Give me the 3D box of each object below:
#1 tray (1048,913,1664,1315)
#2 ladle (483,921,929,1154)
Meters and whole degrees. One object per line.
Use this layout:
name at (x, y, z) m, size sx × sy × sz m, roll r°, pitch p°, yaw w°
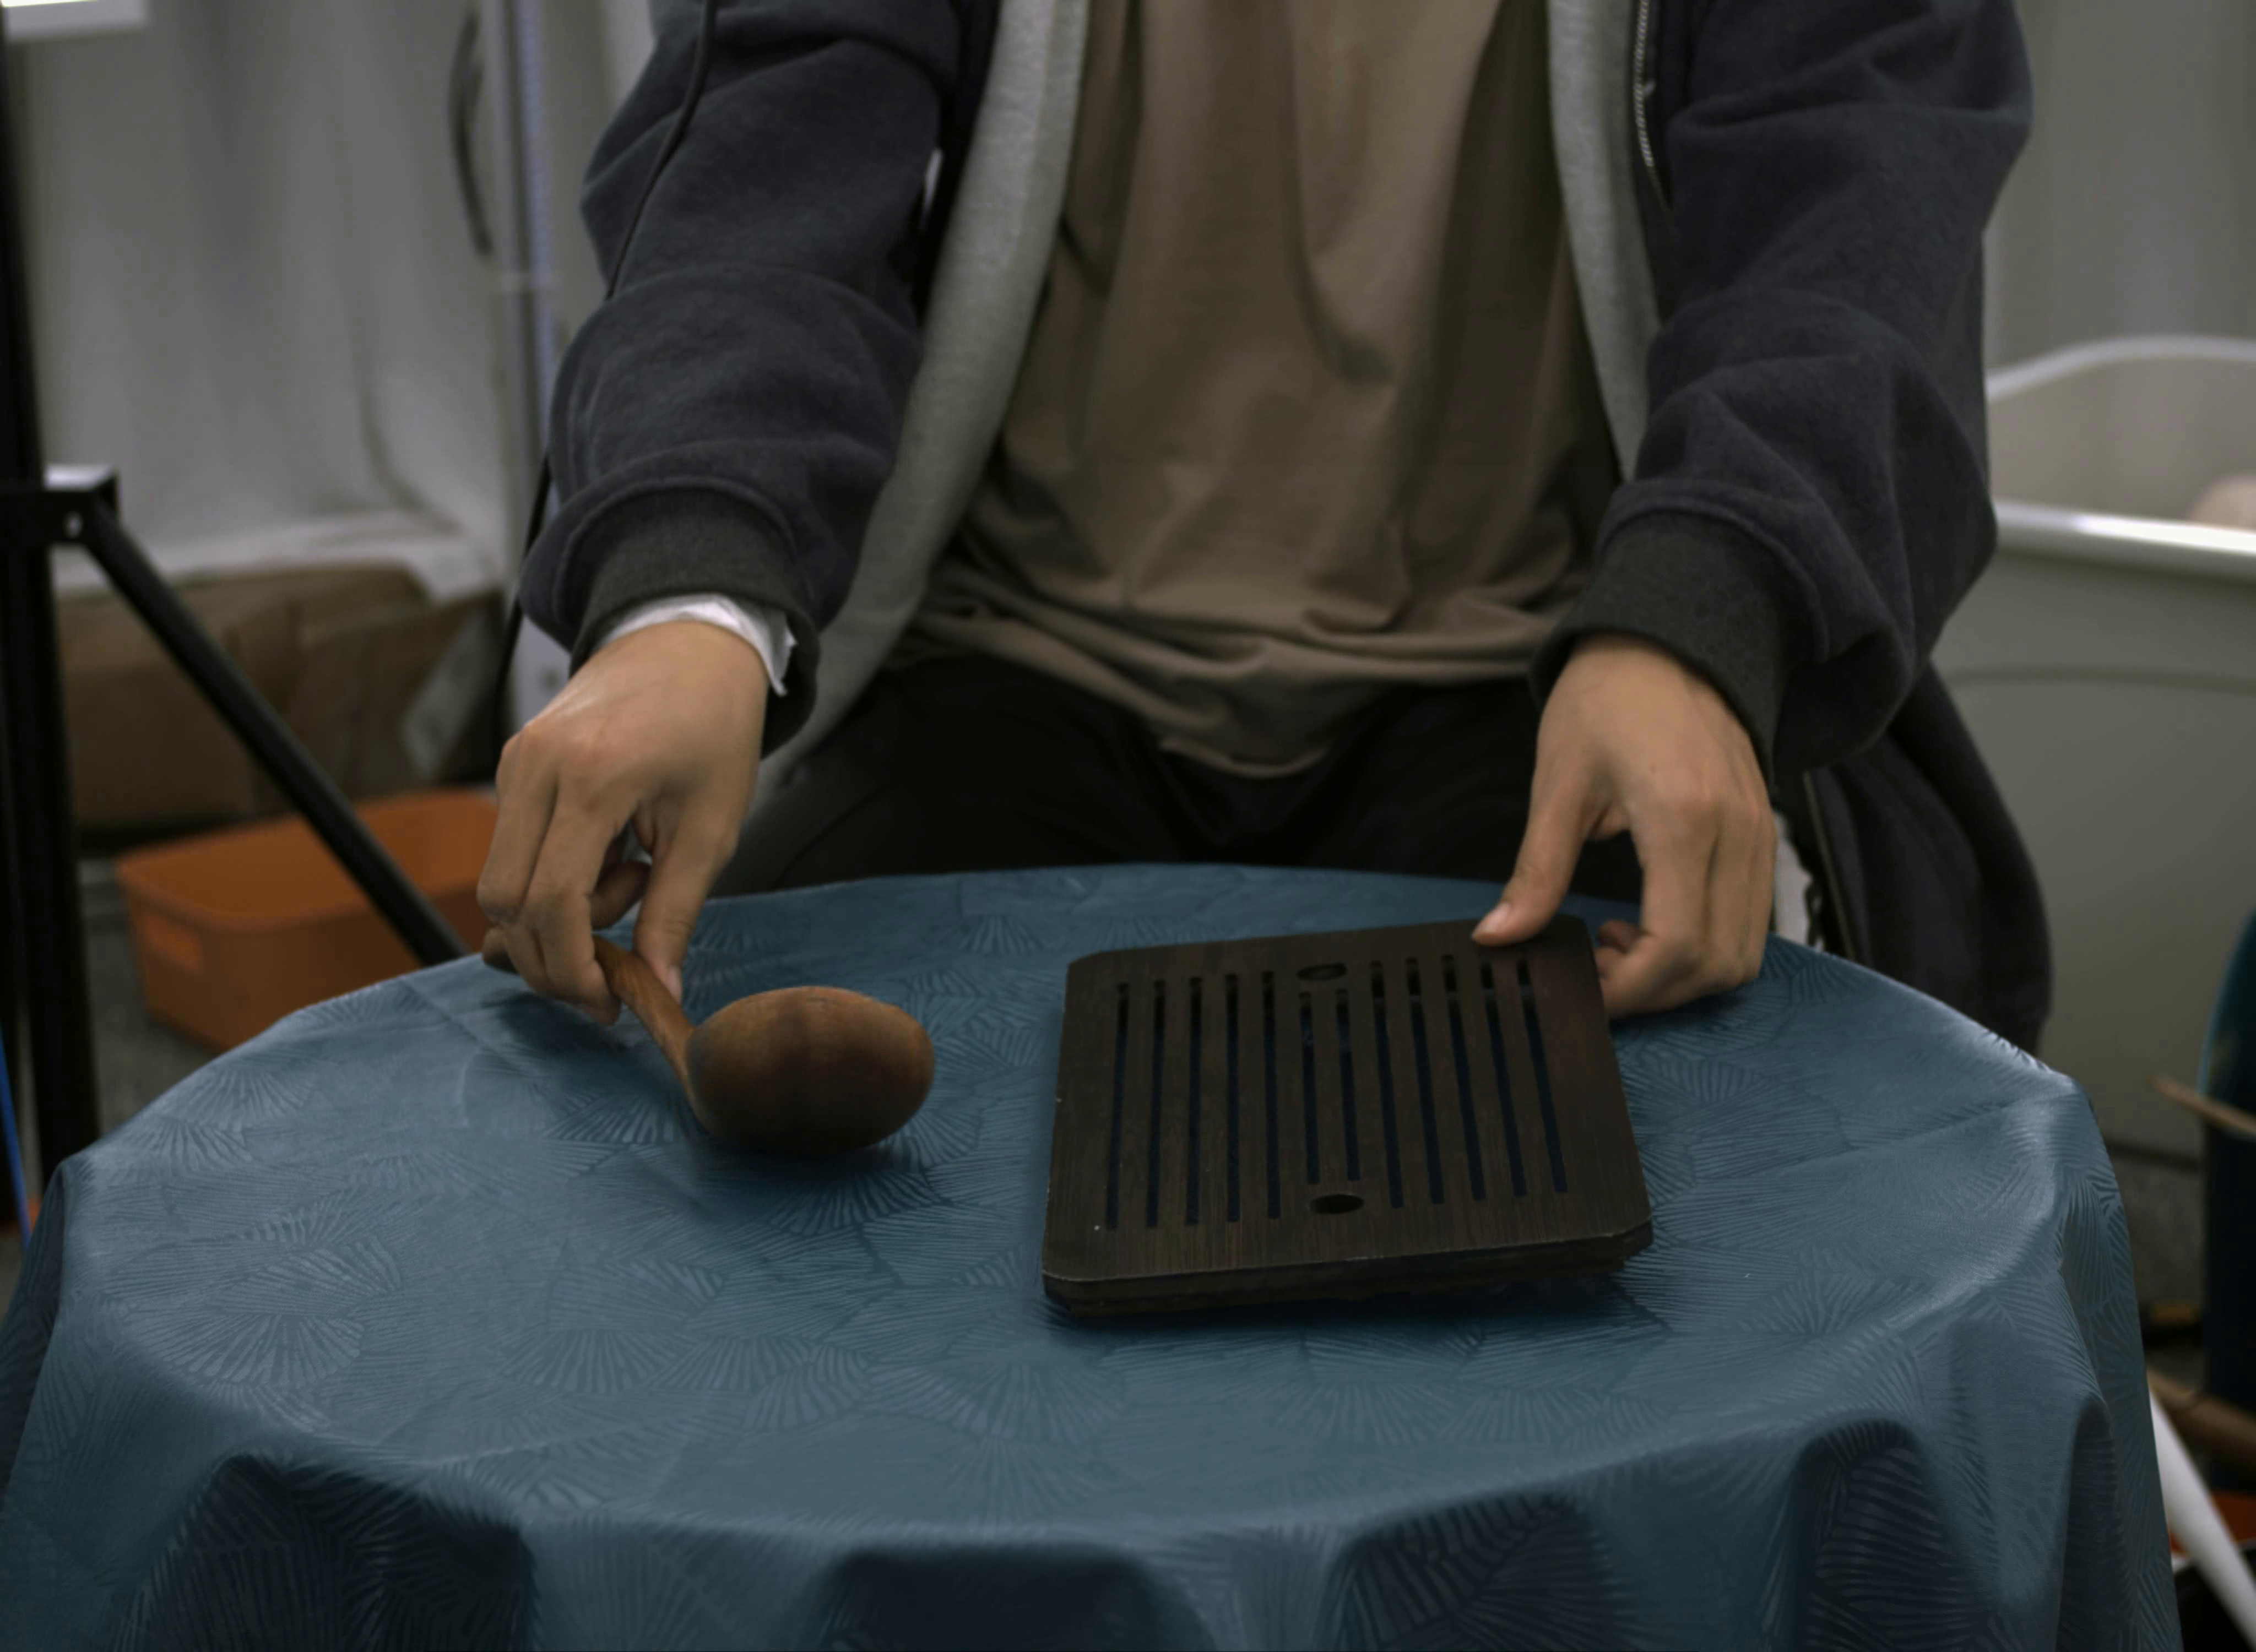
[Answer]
tray at (0.066, 0.083, 1.588) m, size 0.170 × 0.018 × 0.306 m, roll -5°, pitch 16°, yaw 3°
ladle at (-0.141, 0.049, 1.672) m, size 0.075 × 0.065 × 0.265 m, roll 22°, pitch 3°, yaw -29°
